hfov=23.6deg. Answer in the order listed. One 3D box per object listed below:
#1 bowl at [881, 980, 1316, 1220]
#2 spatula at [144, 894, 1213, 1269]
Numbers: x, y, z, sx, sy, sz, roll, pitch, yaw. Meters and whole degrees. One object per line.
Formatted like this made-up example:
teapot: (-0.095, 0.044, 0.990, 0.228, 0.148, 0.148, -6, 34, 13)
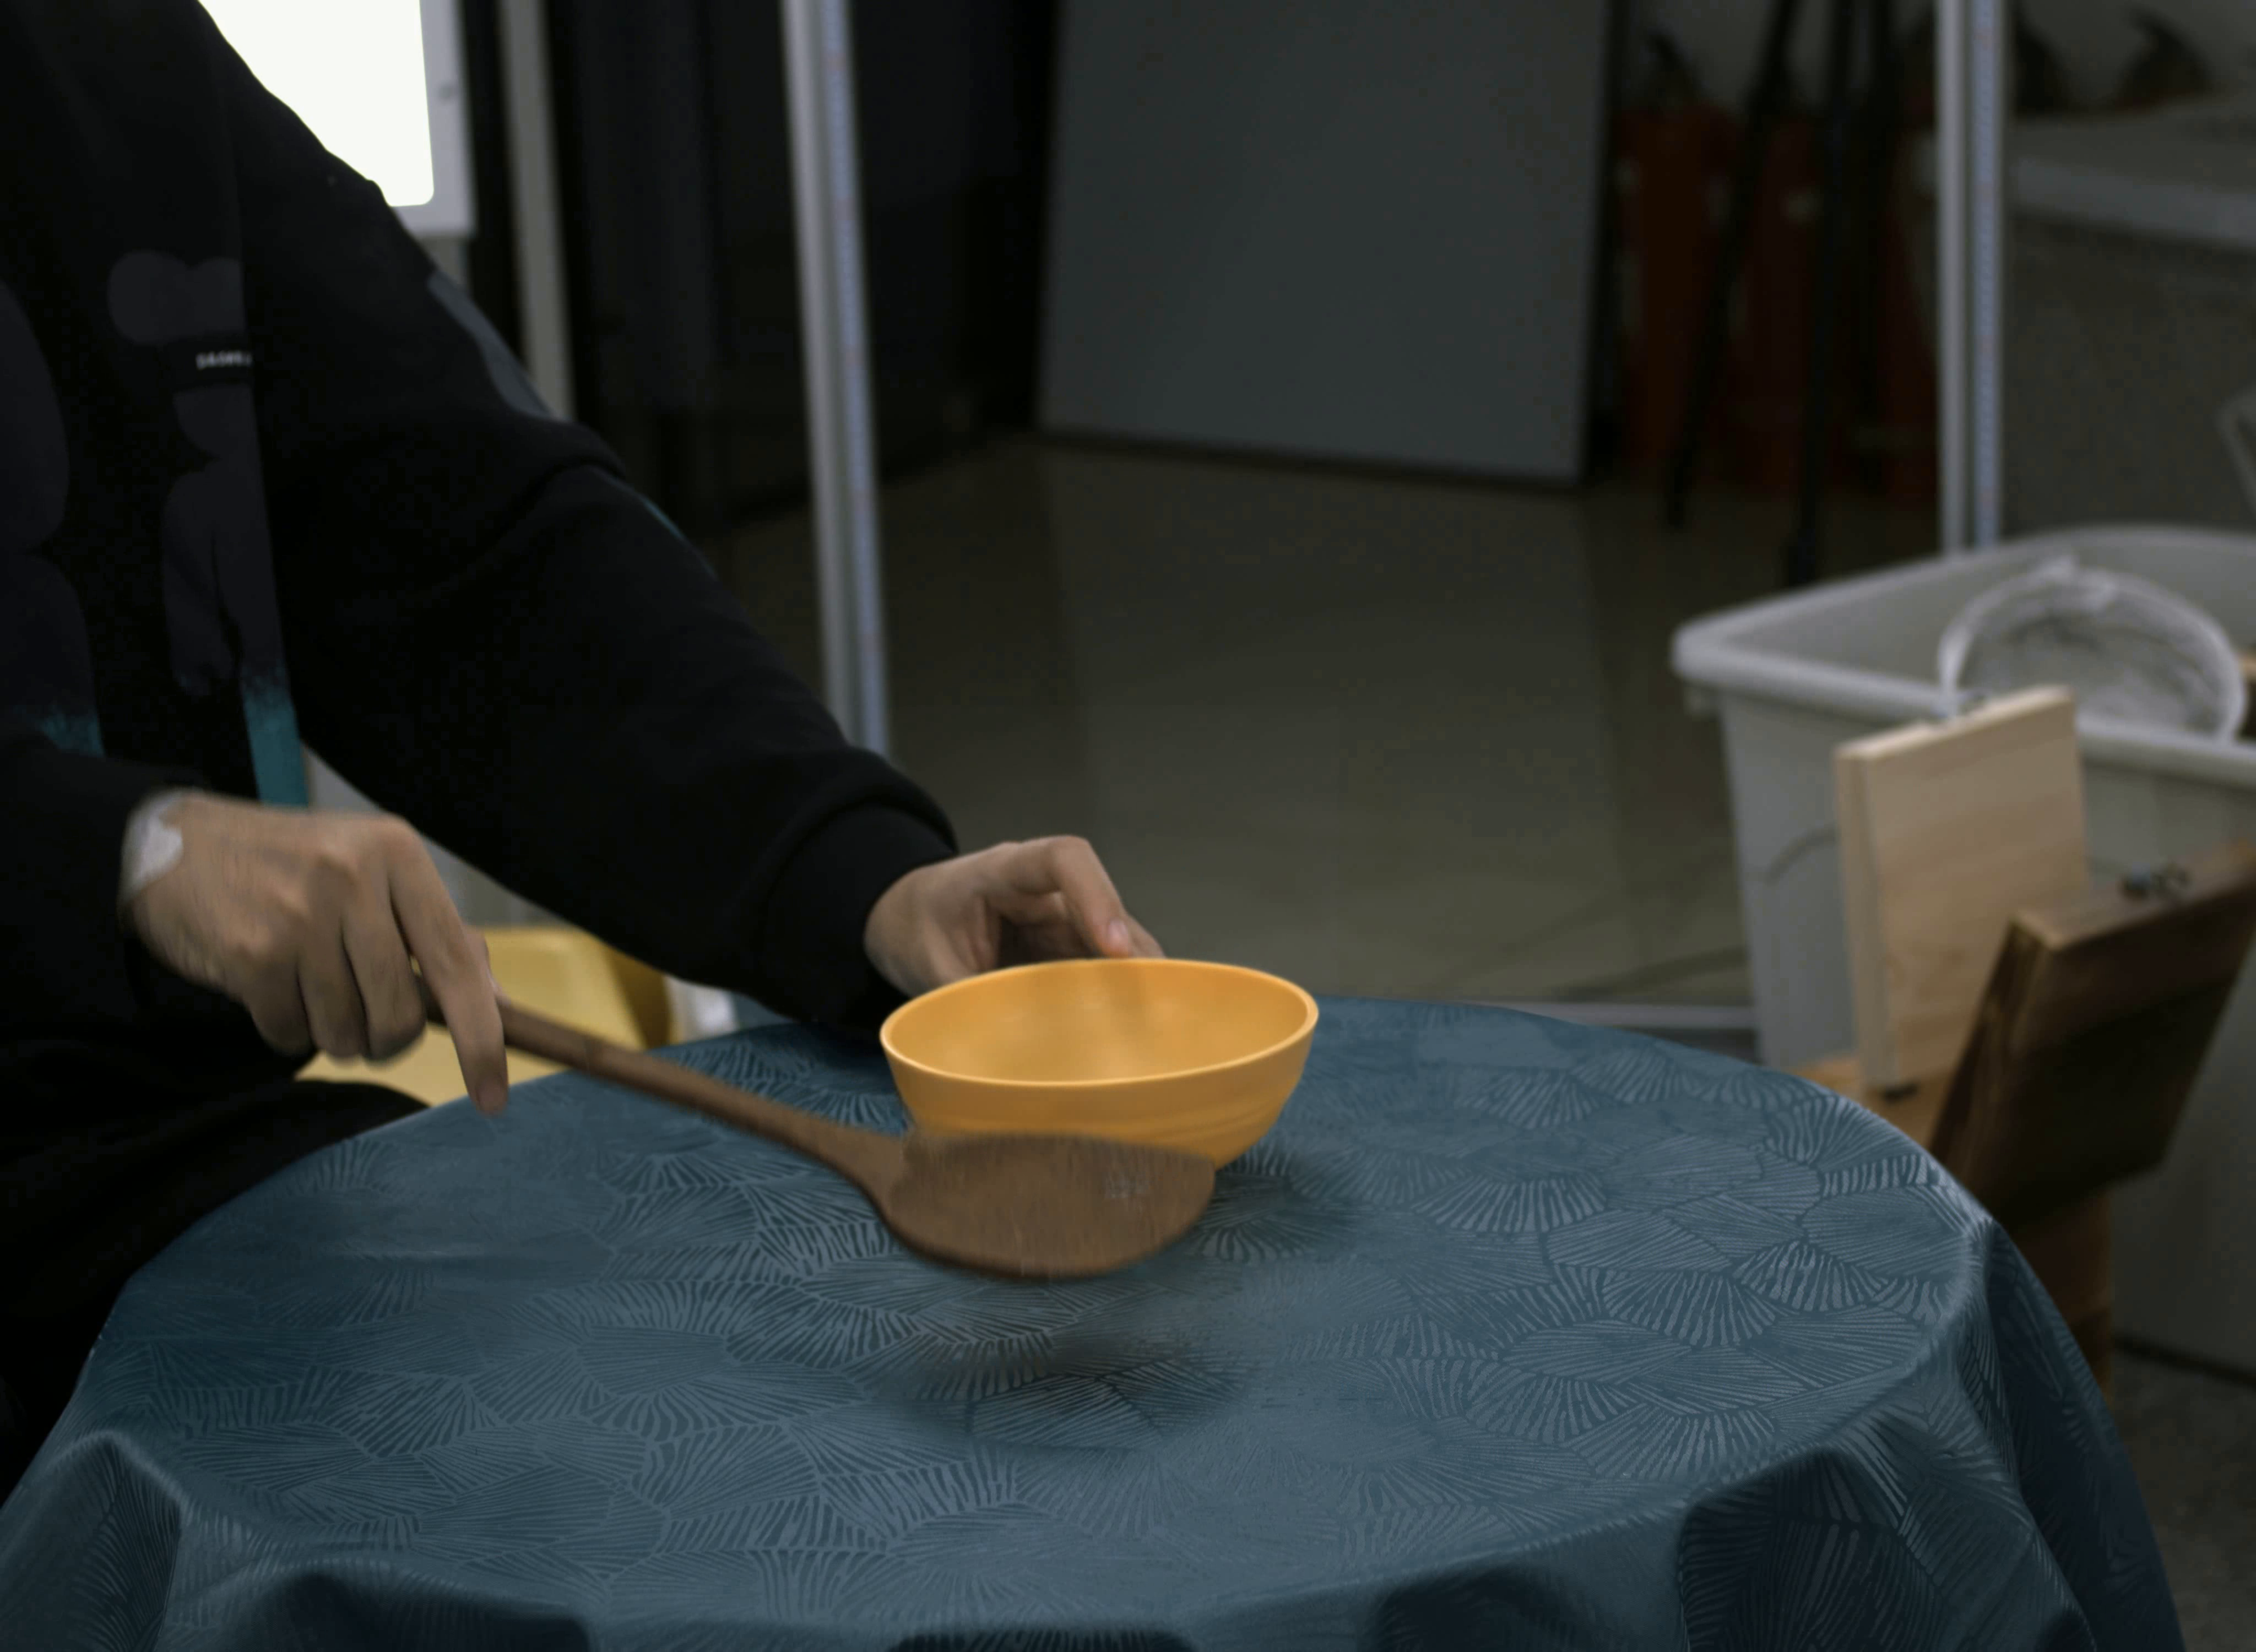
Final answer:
bowl: (-0.009, 0.094, 1.769, 0.143, 0.061, 0.145, -3, 11, 0)
spatula: (-0.151, 0.073, 1.672, 0.387, 0.016, 0.095, 16, 27, 27)
